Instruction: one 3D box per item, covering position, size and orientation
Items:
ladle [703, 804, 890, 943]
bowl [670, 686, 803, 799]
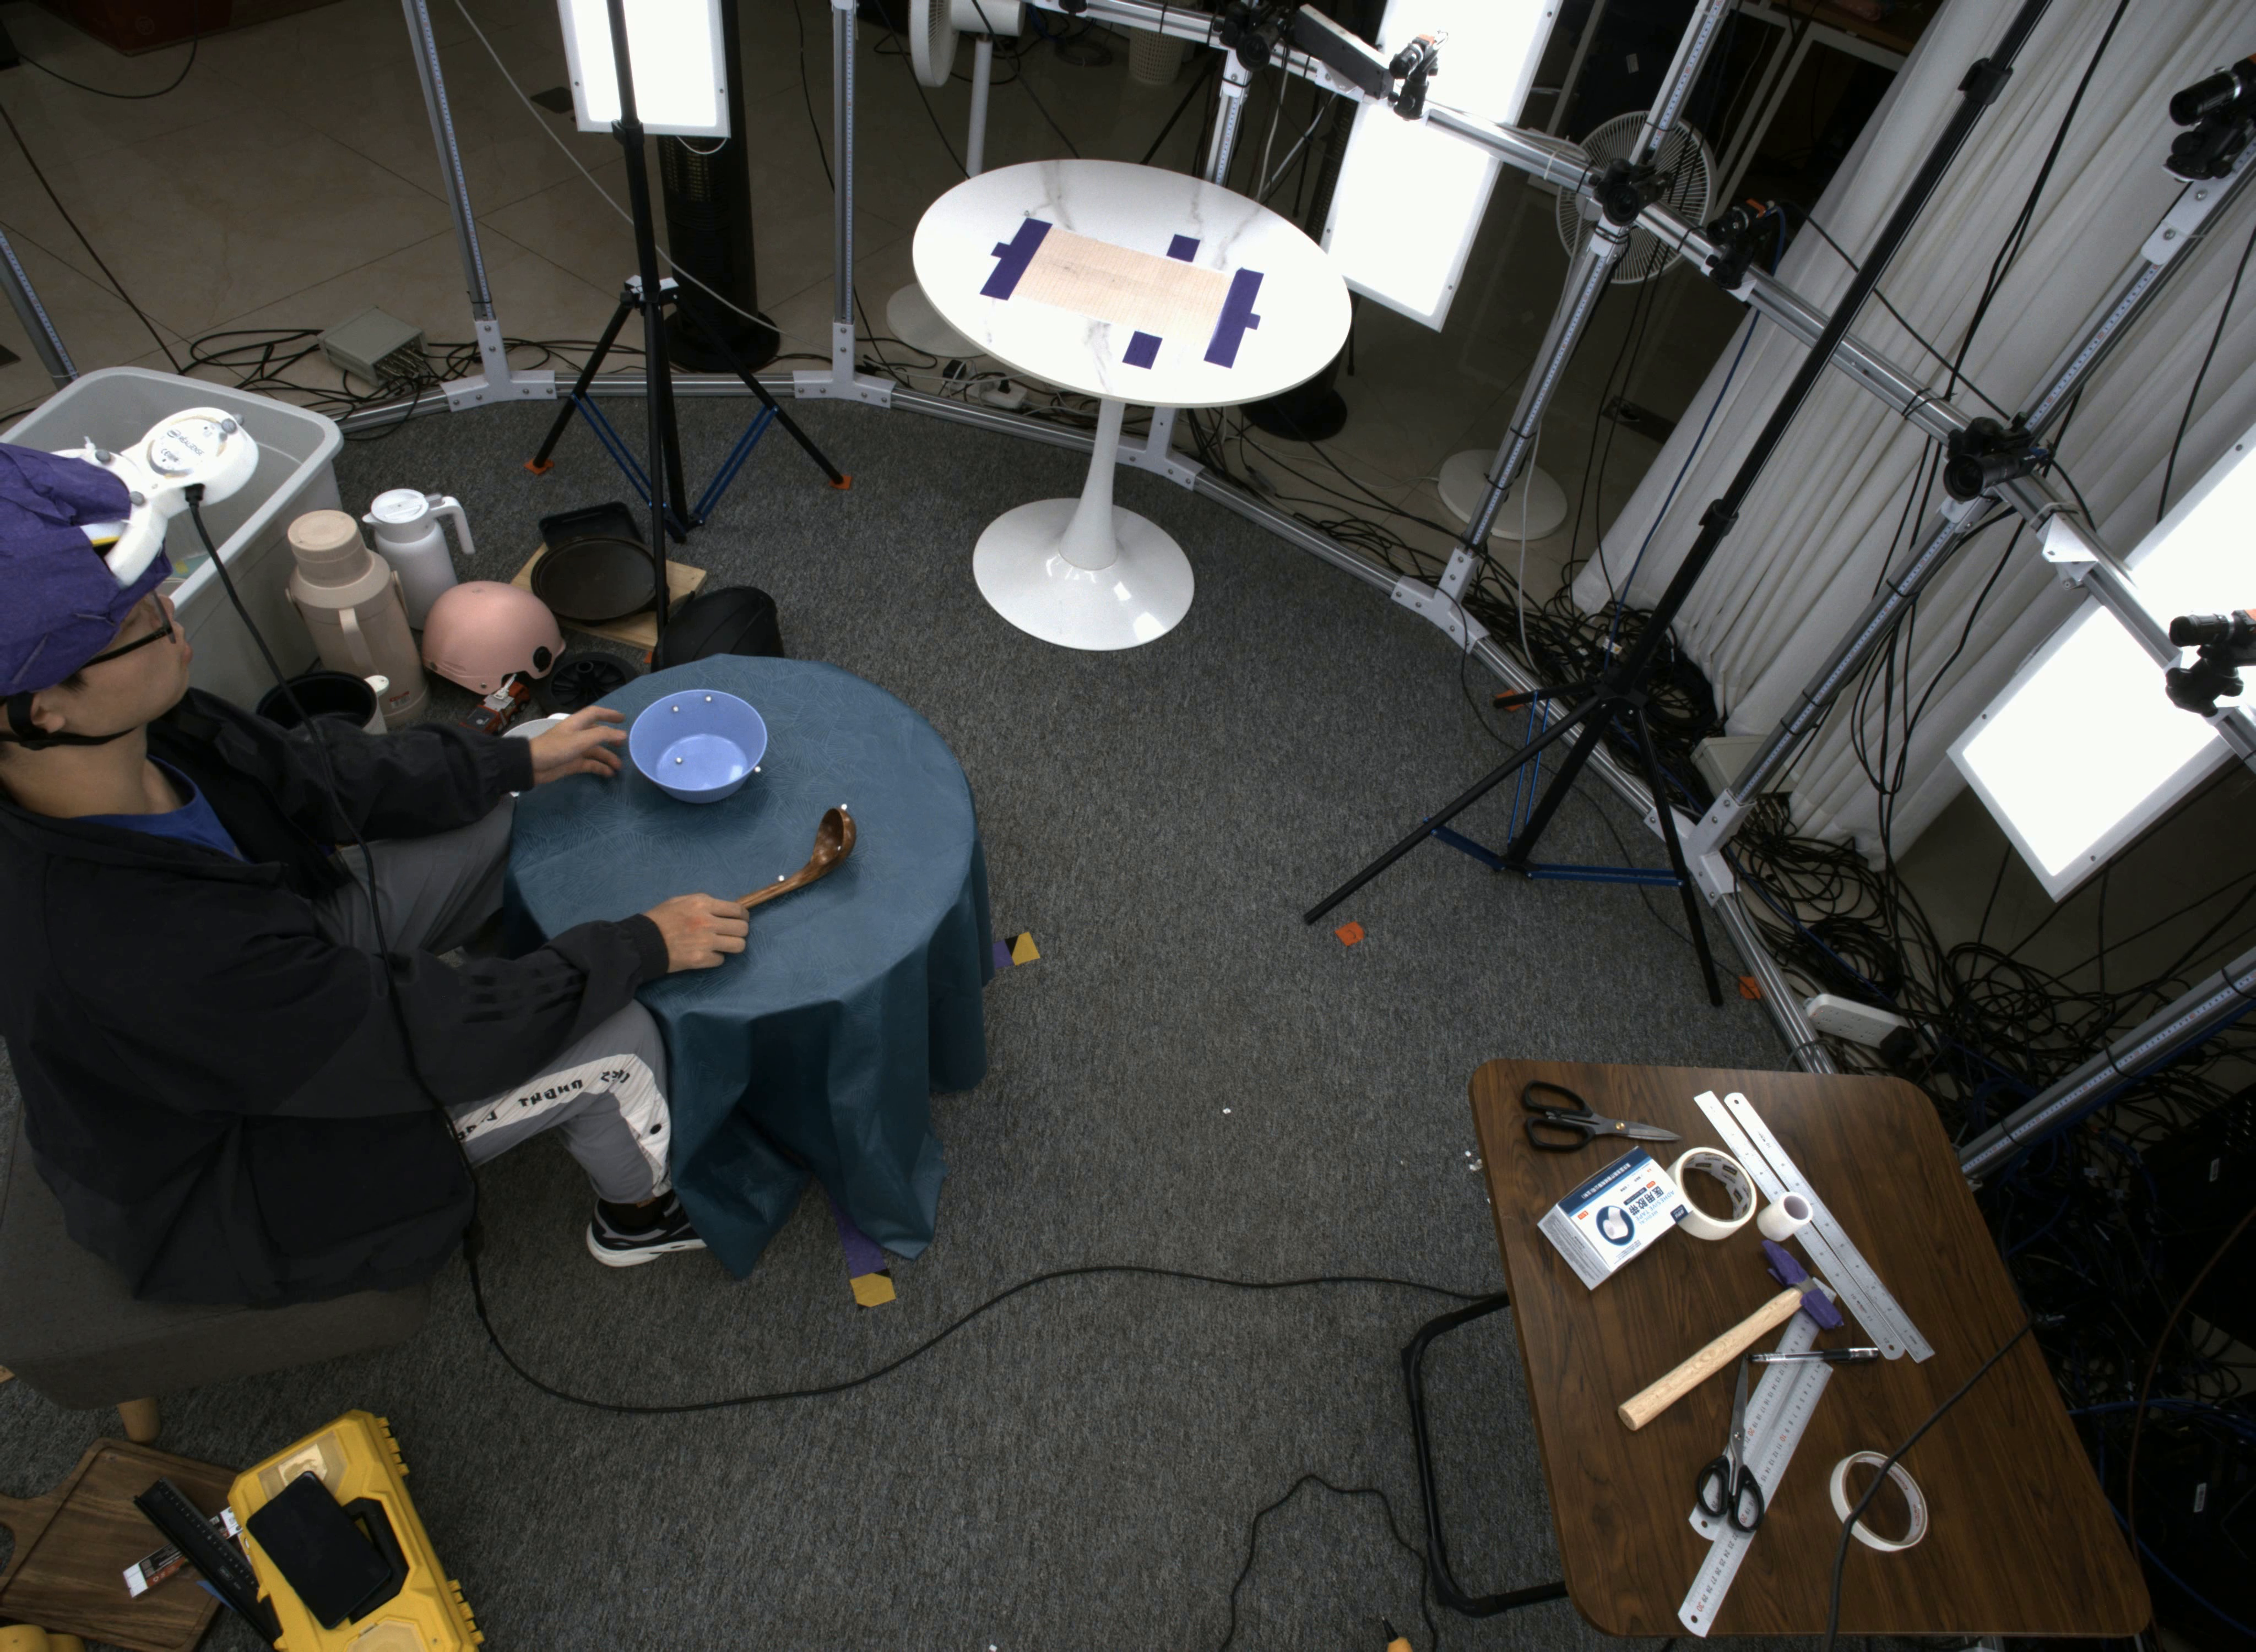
[{"bbox_3d":[-0.424,0.054,1.650,0.275,0.079,0.079,-26,107,-27],"label":"ladle"},{"bbox_3d":[-0.525,-0.103,1.740,0.175,0.072,0.173,7,52,-8],"label":"bowl"}]
